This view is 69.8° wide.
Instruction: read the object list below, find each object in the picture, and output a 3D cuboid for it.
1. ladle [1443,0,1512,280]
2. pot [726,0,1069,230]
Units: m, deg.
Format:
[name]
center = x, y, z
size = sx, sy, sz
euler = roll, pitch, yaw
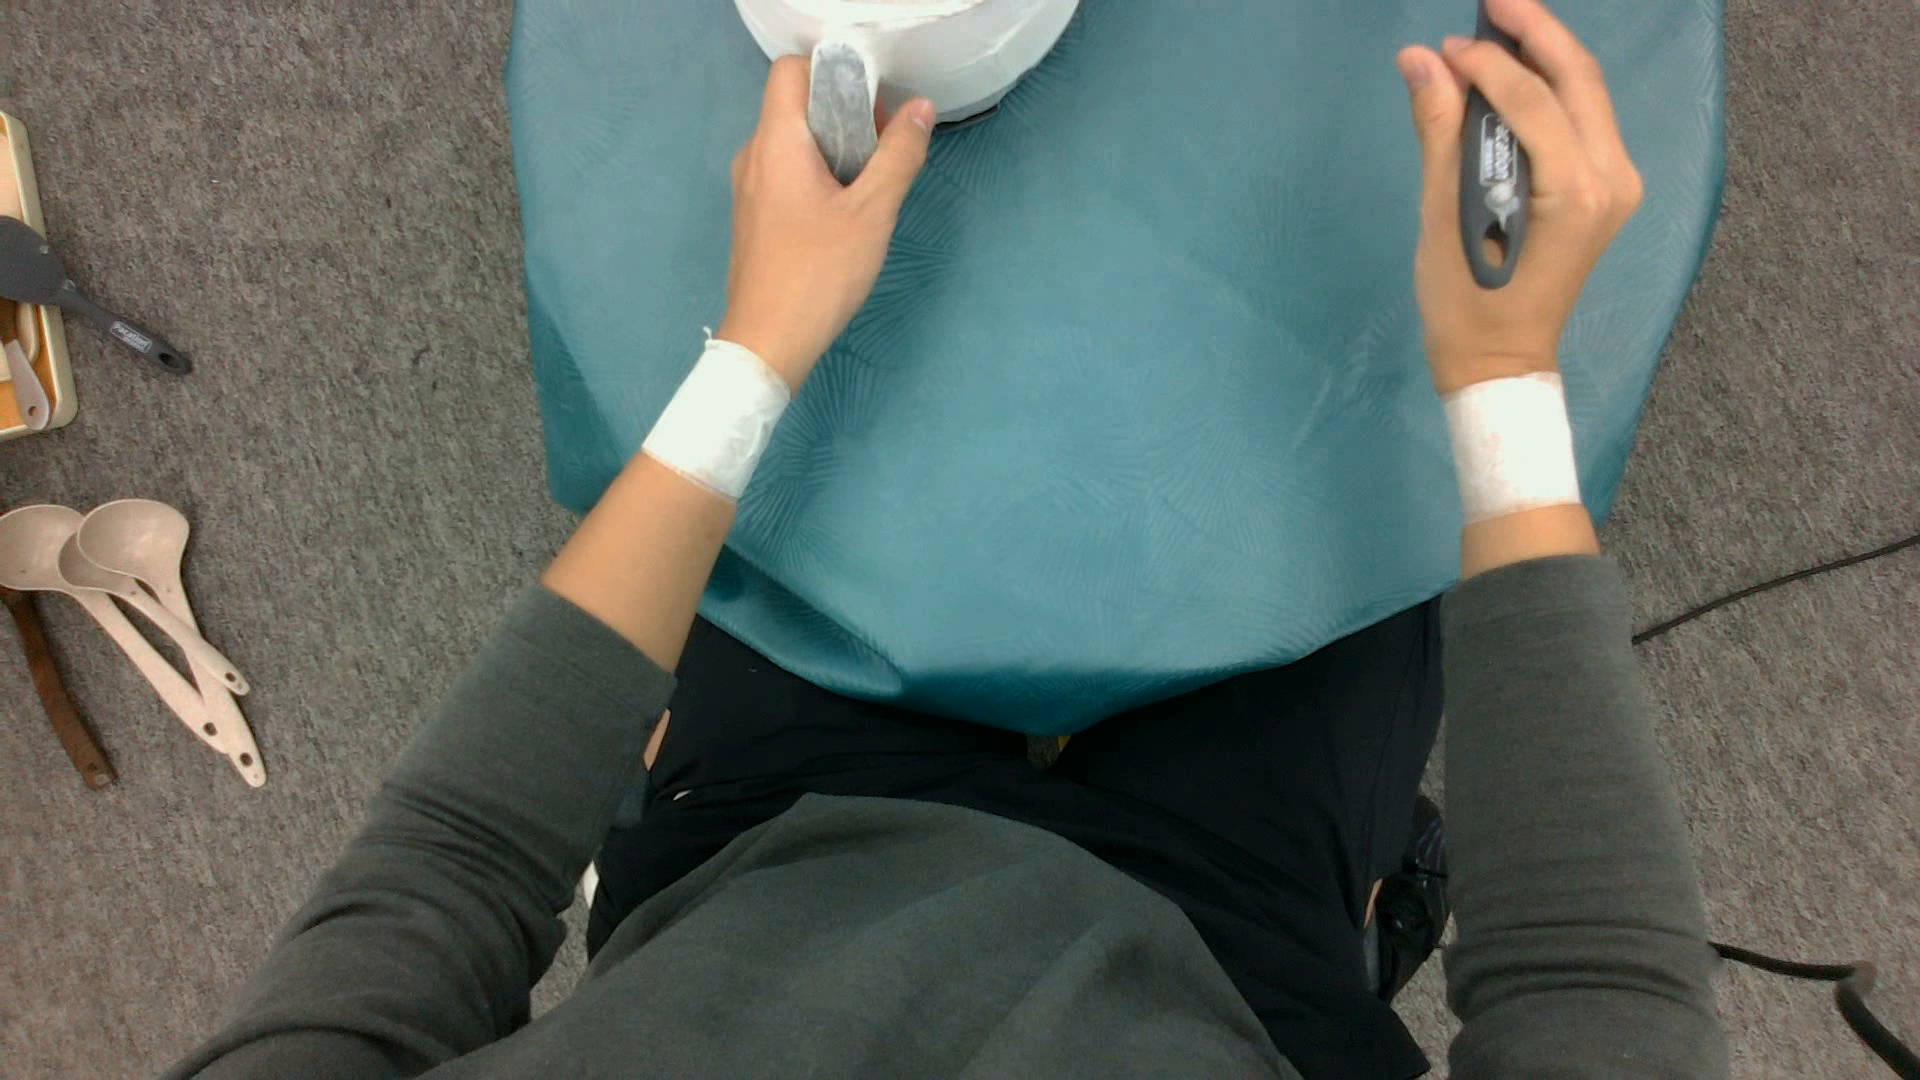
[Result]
[ladle]
center = 0.215, -0.242, 0.559
size = 0.086, 0.064, 0.315
euler = 5, 60, 14
[pot]
center = -0.036, -0.264, 0.621
size = 0.178, 0.136, 0.234
euler = 10, 86, 3
